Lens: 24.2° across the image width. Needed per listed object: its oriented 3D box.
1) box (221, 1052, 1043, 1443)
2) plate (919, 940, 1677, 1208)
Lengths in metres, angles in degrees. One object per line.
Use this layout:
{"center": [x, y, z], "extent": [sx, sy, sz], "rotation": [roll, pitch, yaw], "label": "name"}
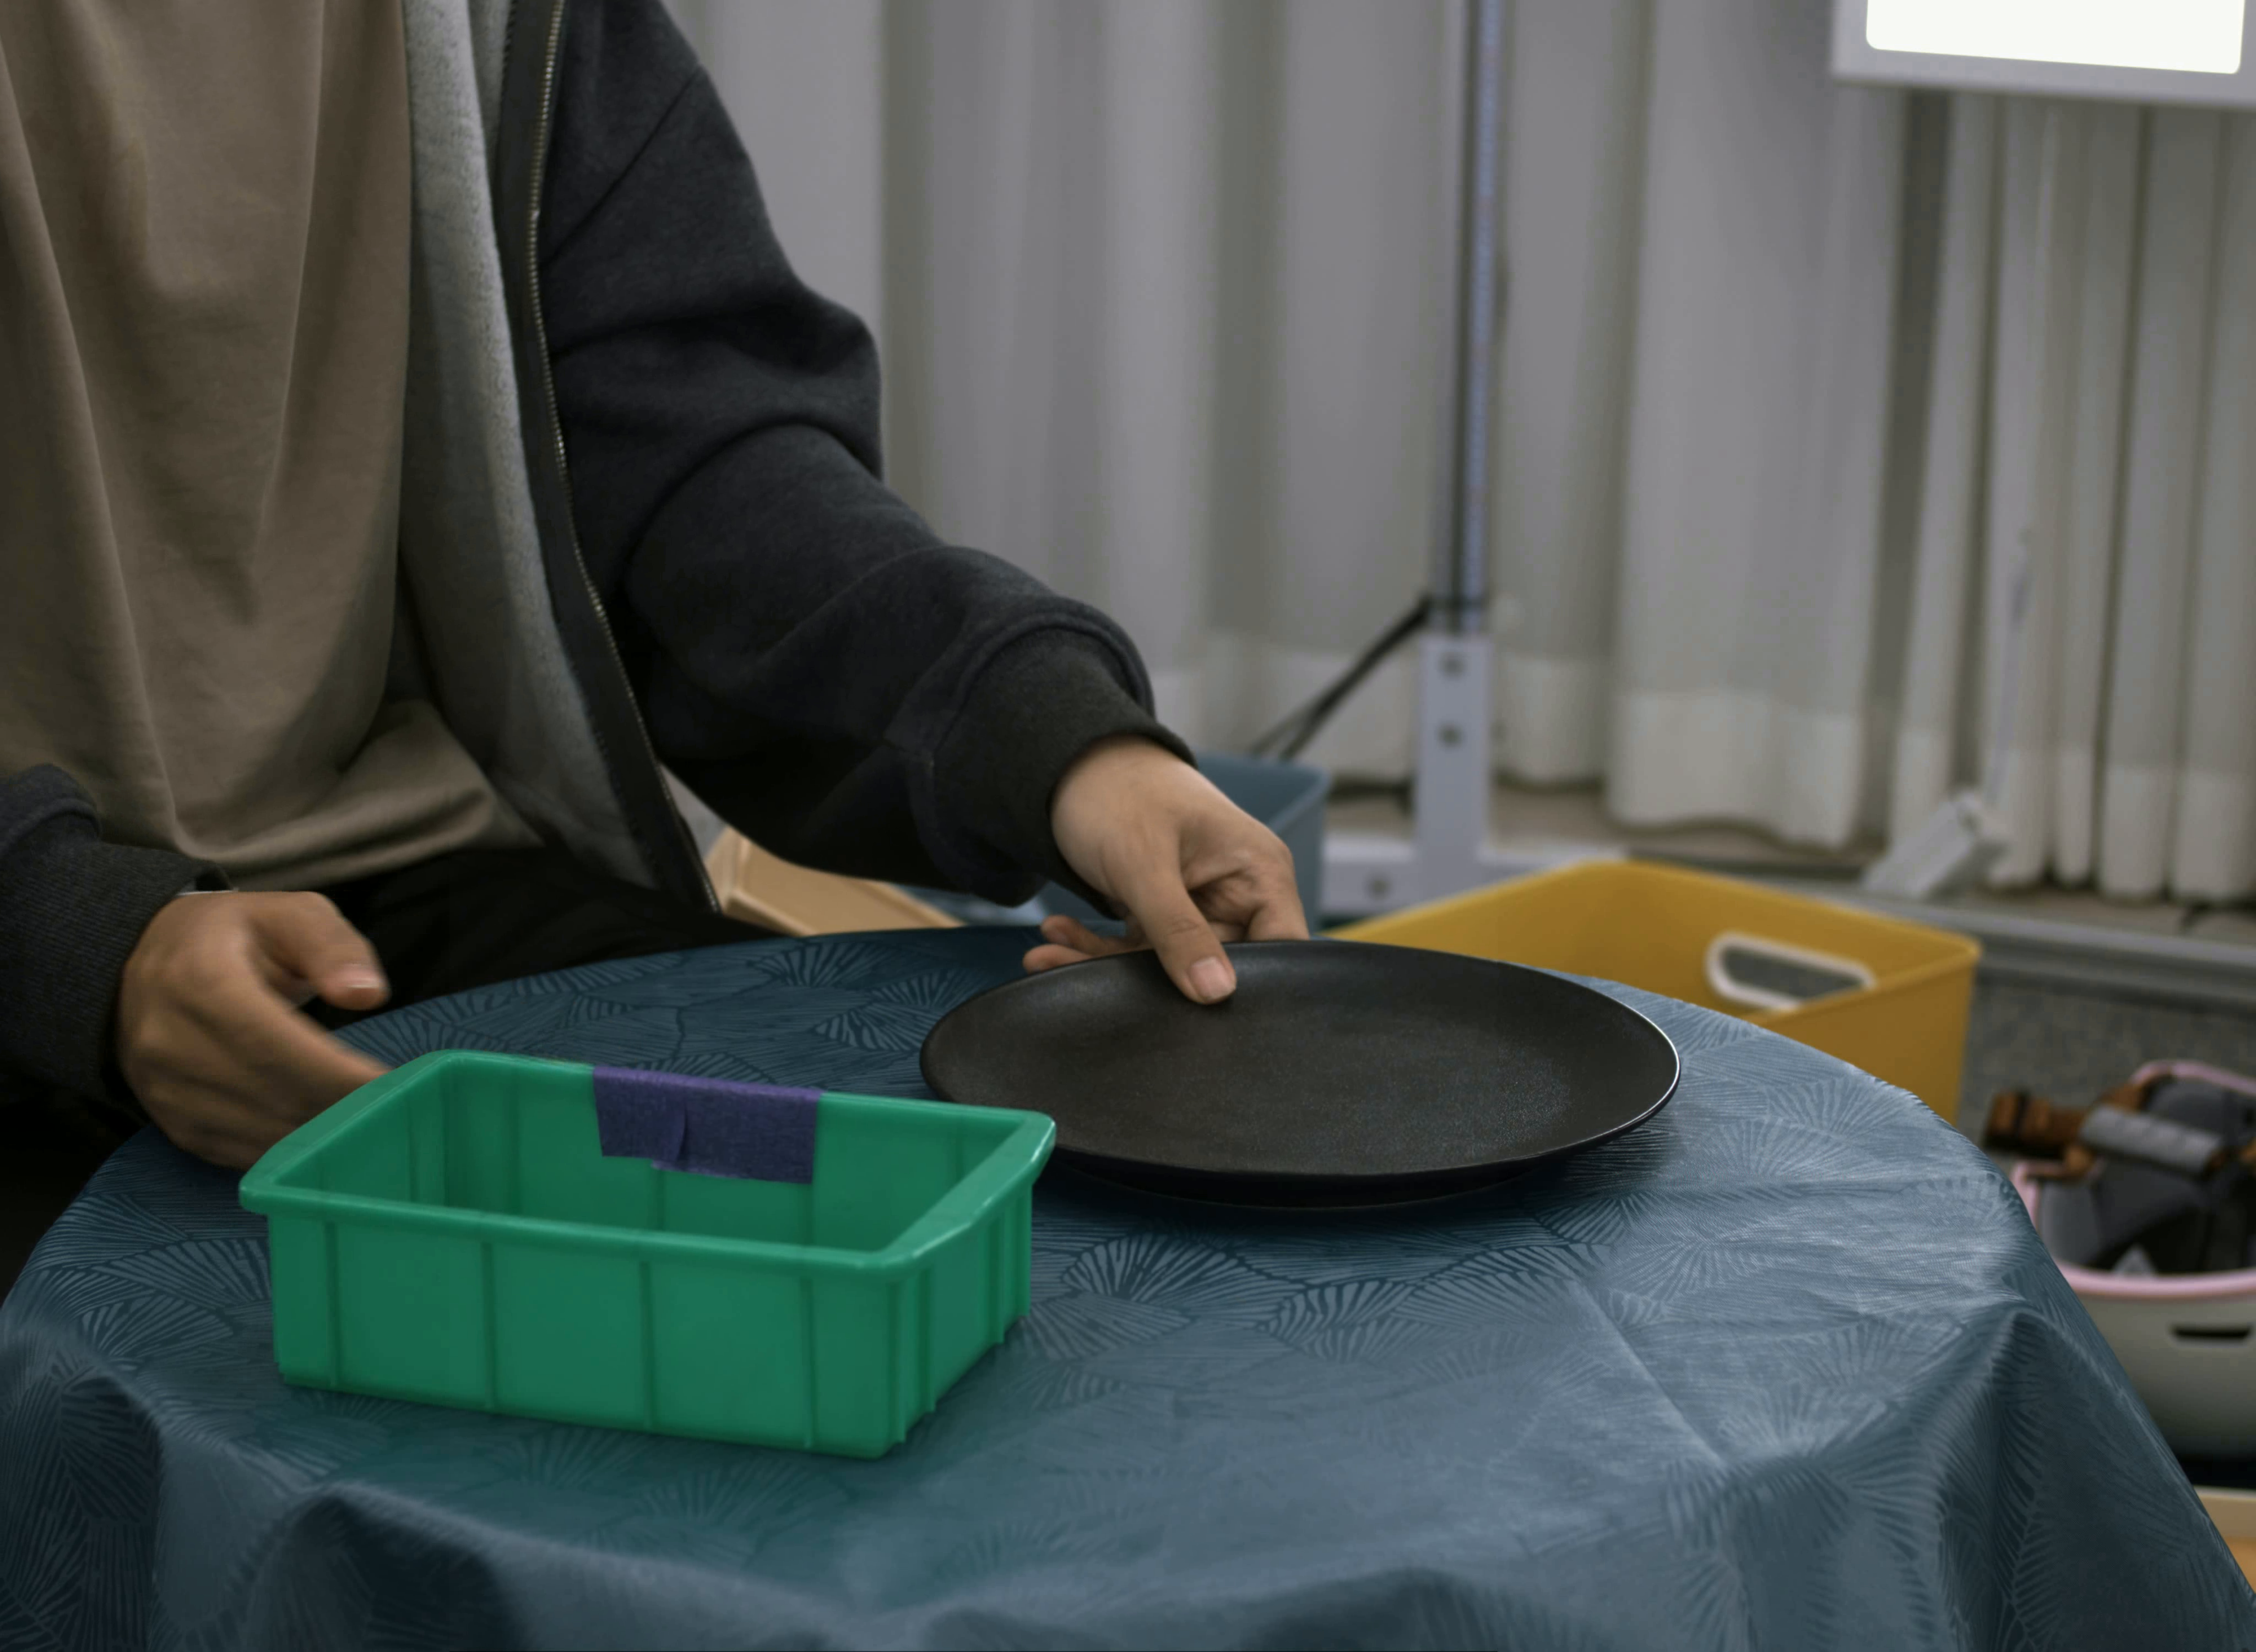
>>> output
{"center": [-0.136, 0.118, 1.479], "extent": [0.209, 0.066, 0.139], "rotation": [3, 14, 16], "label": "box"}
{"center": [0.054, 0.082, 1.691], "extent": [0.243, 0.023, 0.243], "rotation": [1, 16, 0], "label": "plate"}
